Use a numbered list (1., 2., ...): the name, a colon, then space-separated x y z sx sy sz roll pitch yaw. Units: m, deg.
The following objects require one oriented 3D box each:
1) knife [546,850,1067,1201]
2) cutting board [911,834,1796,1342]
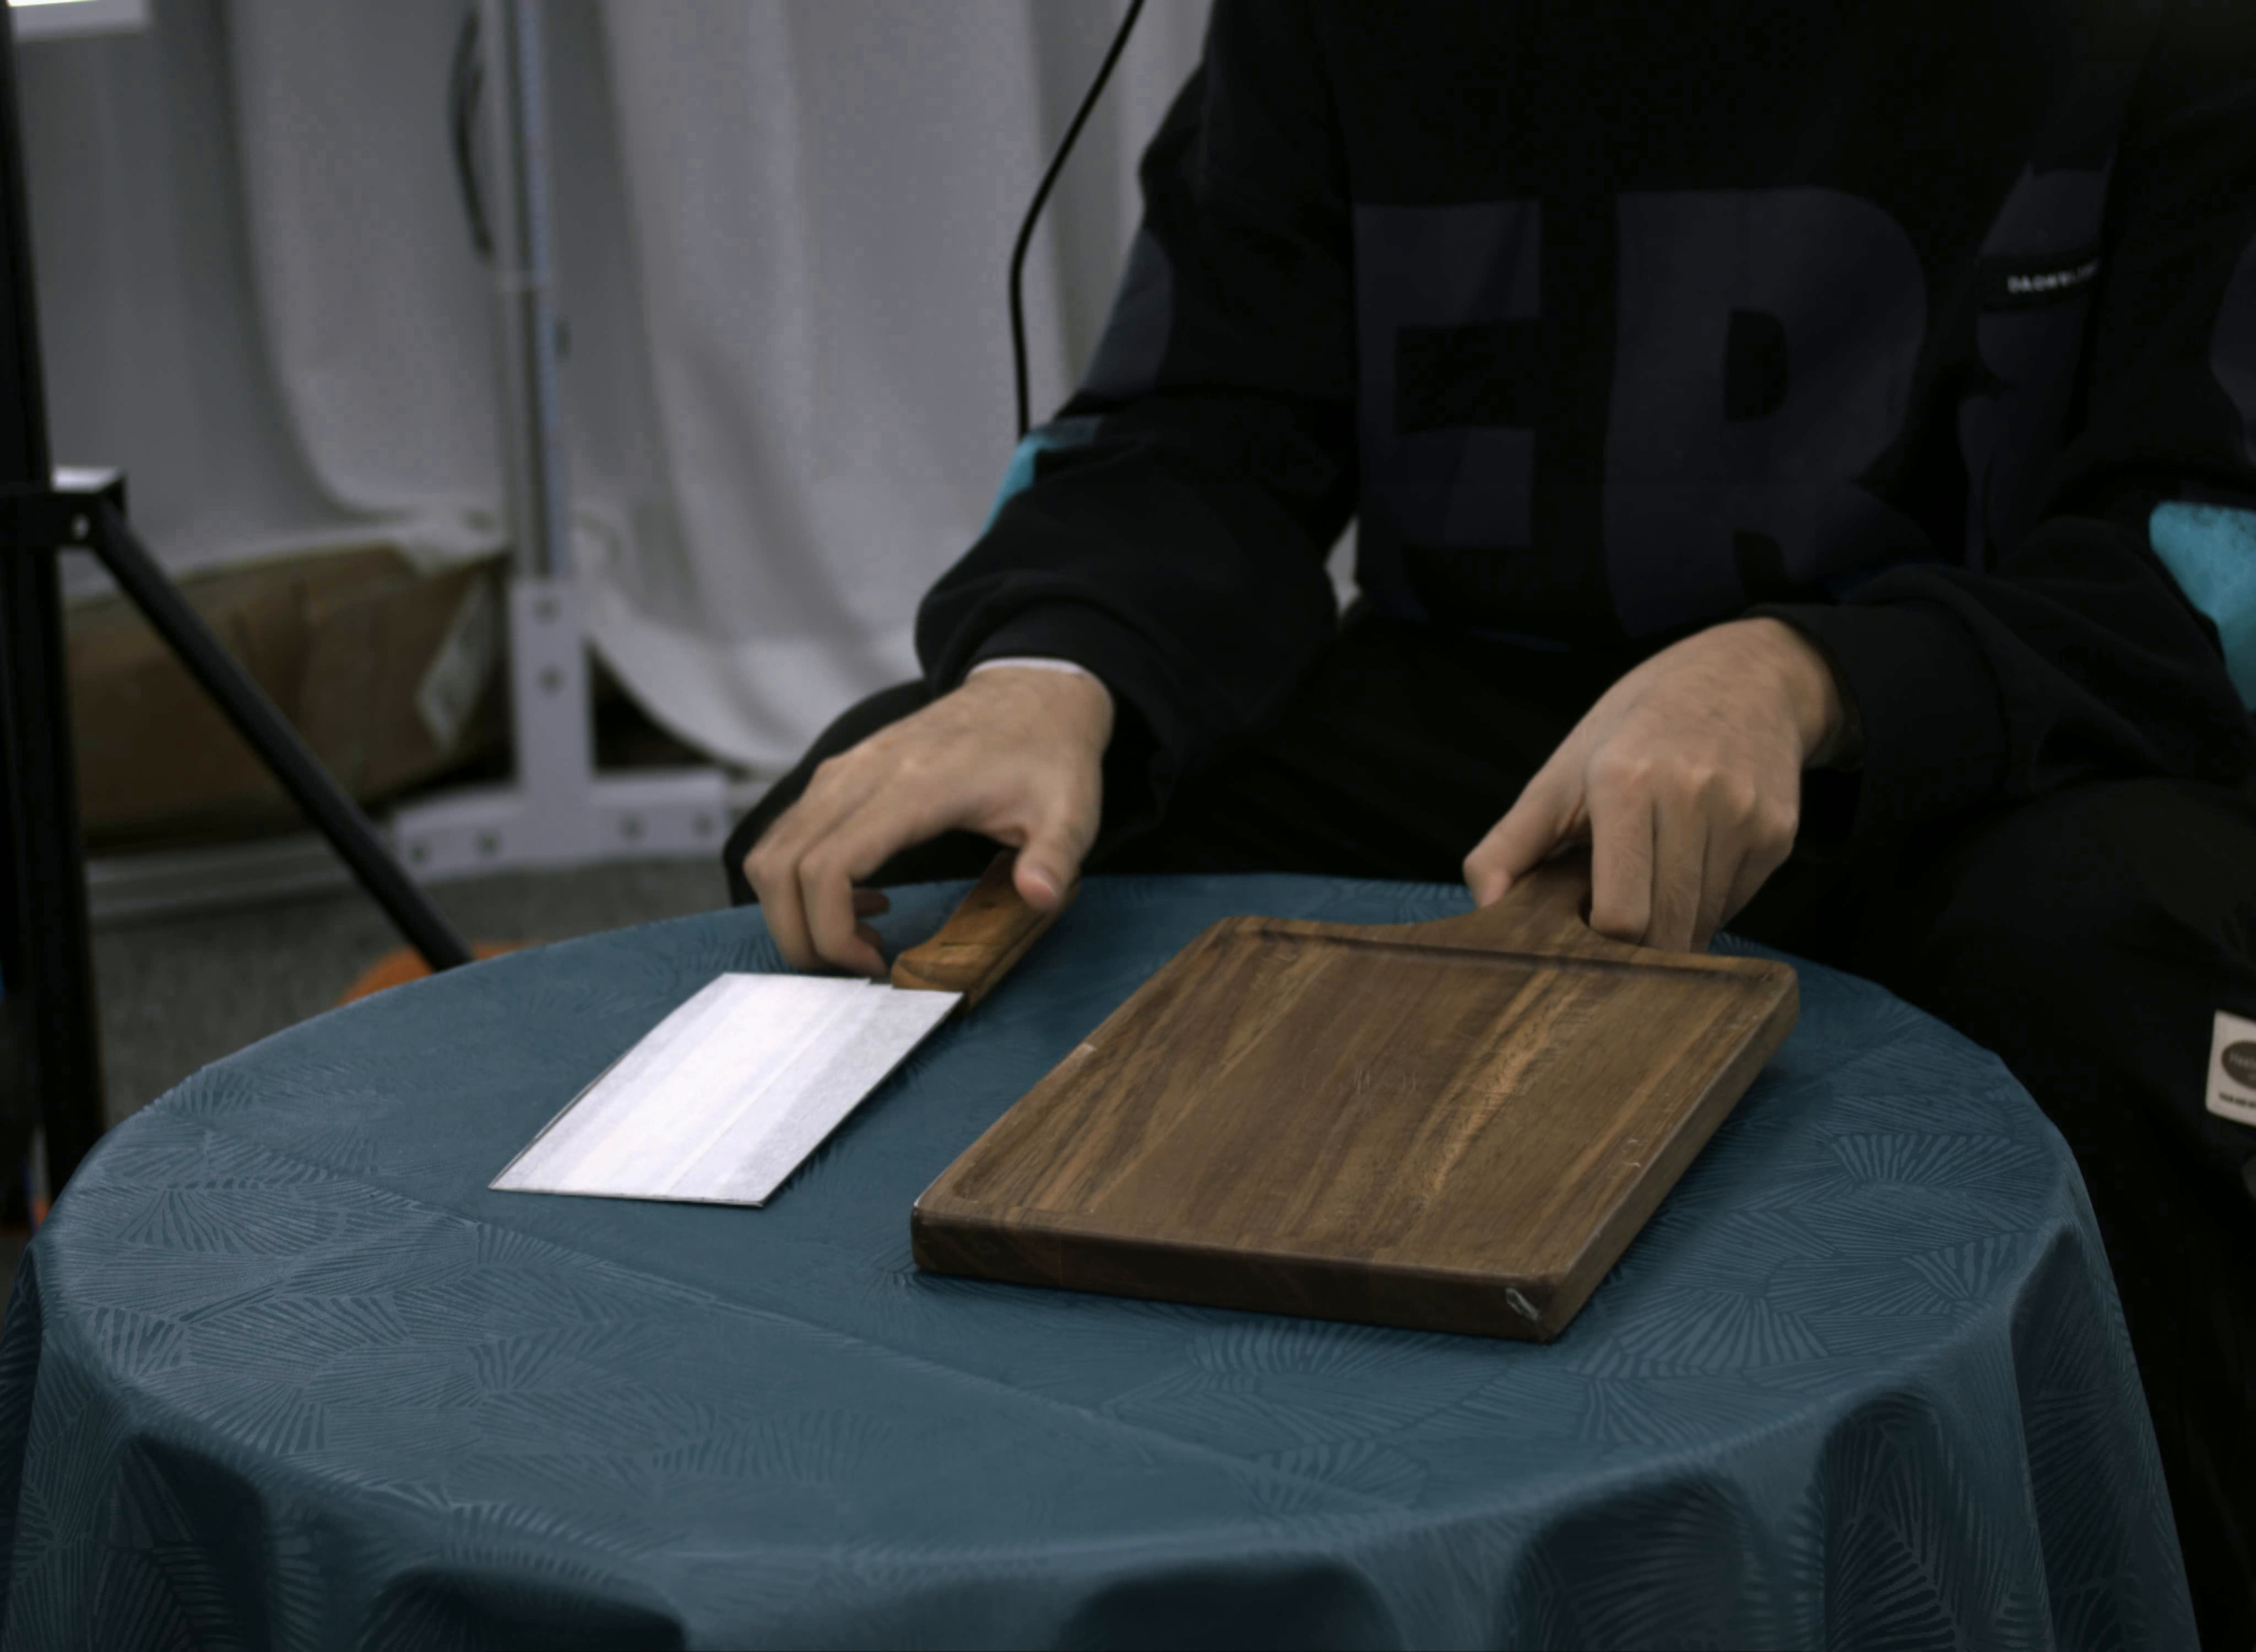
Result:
1. knife: -0.102 0.062 1.708 0.094 0.021 0.303 1 18 19
2. cutting board: 0.090 0.069 1.605 0.204 0.023 0.348 4 20 23
